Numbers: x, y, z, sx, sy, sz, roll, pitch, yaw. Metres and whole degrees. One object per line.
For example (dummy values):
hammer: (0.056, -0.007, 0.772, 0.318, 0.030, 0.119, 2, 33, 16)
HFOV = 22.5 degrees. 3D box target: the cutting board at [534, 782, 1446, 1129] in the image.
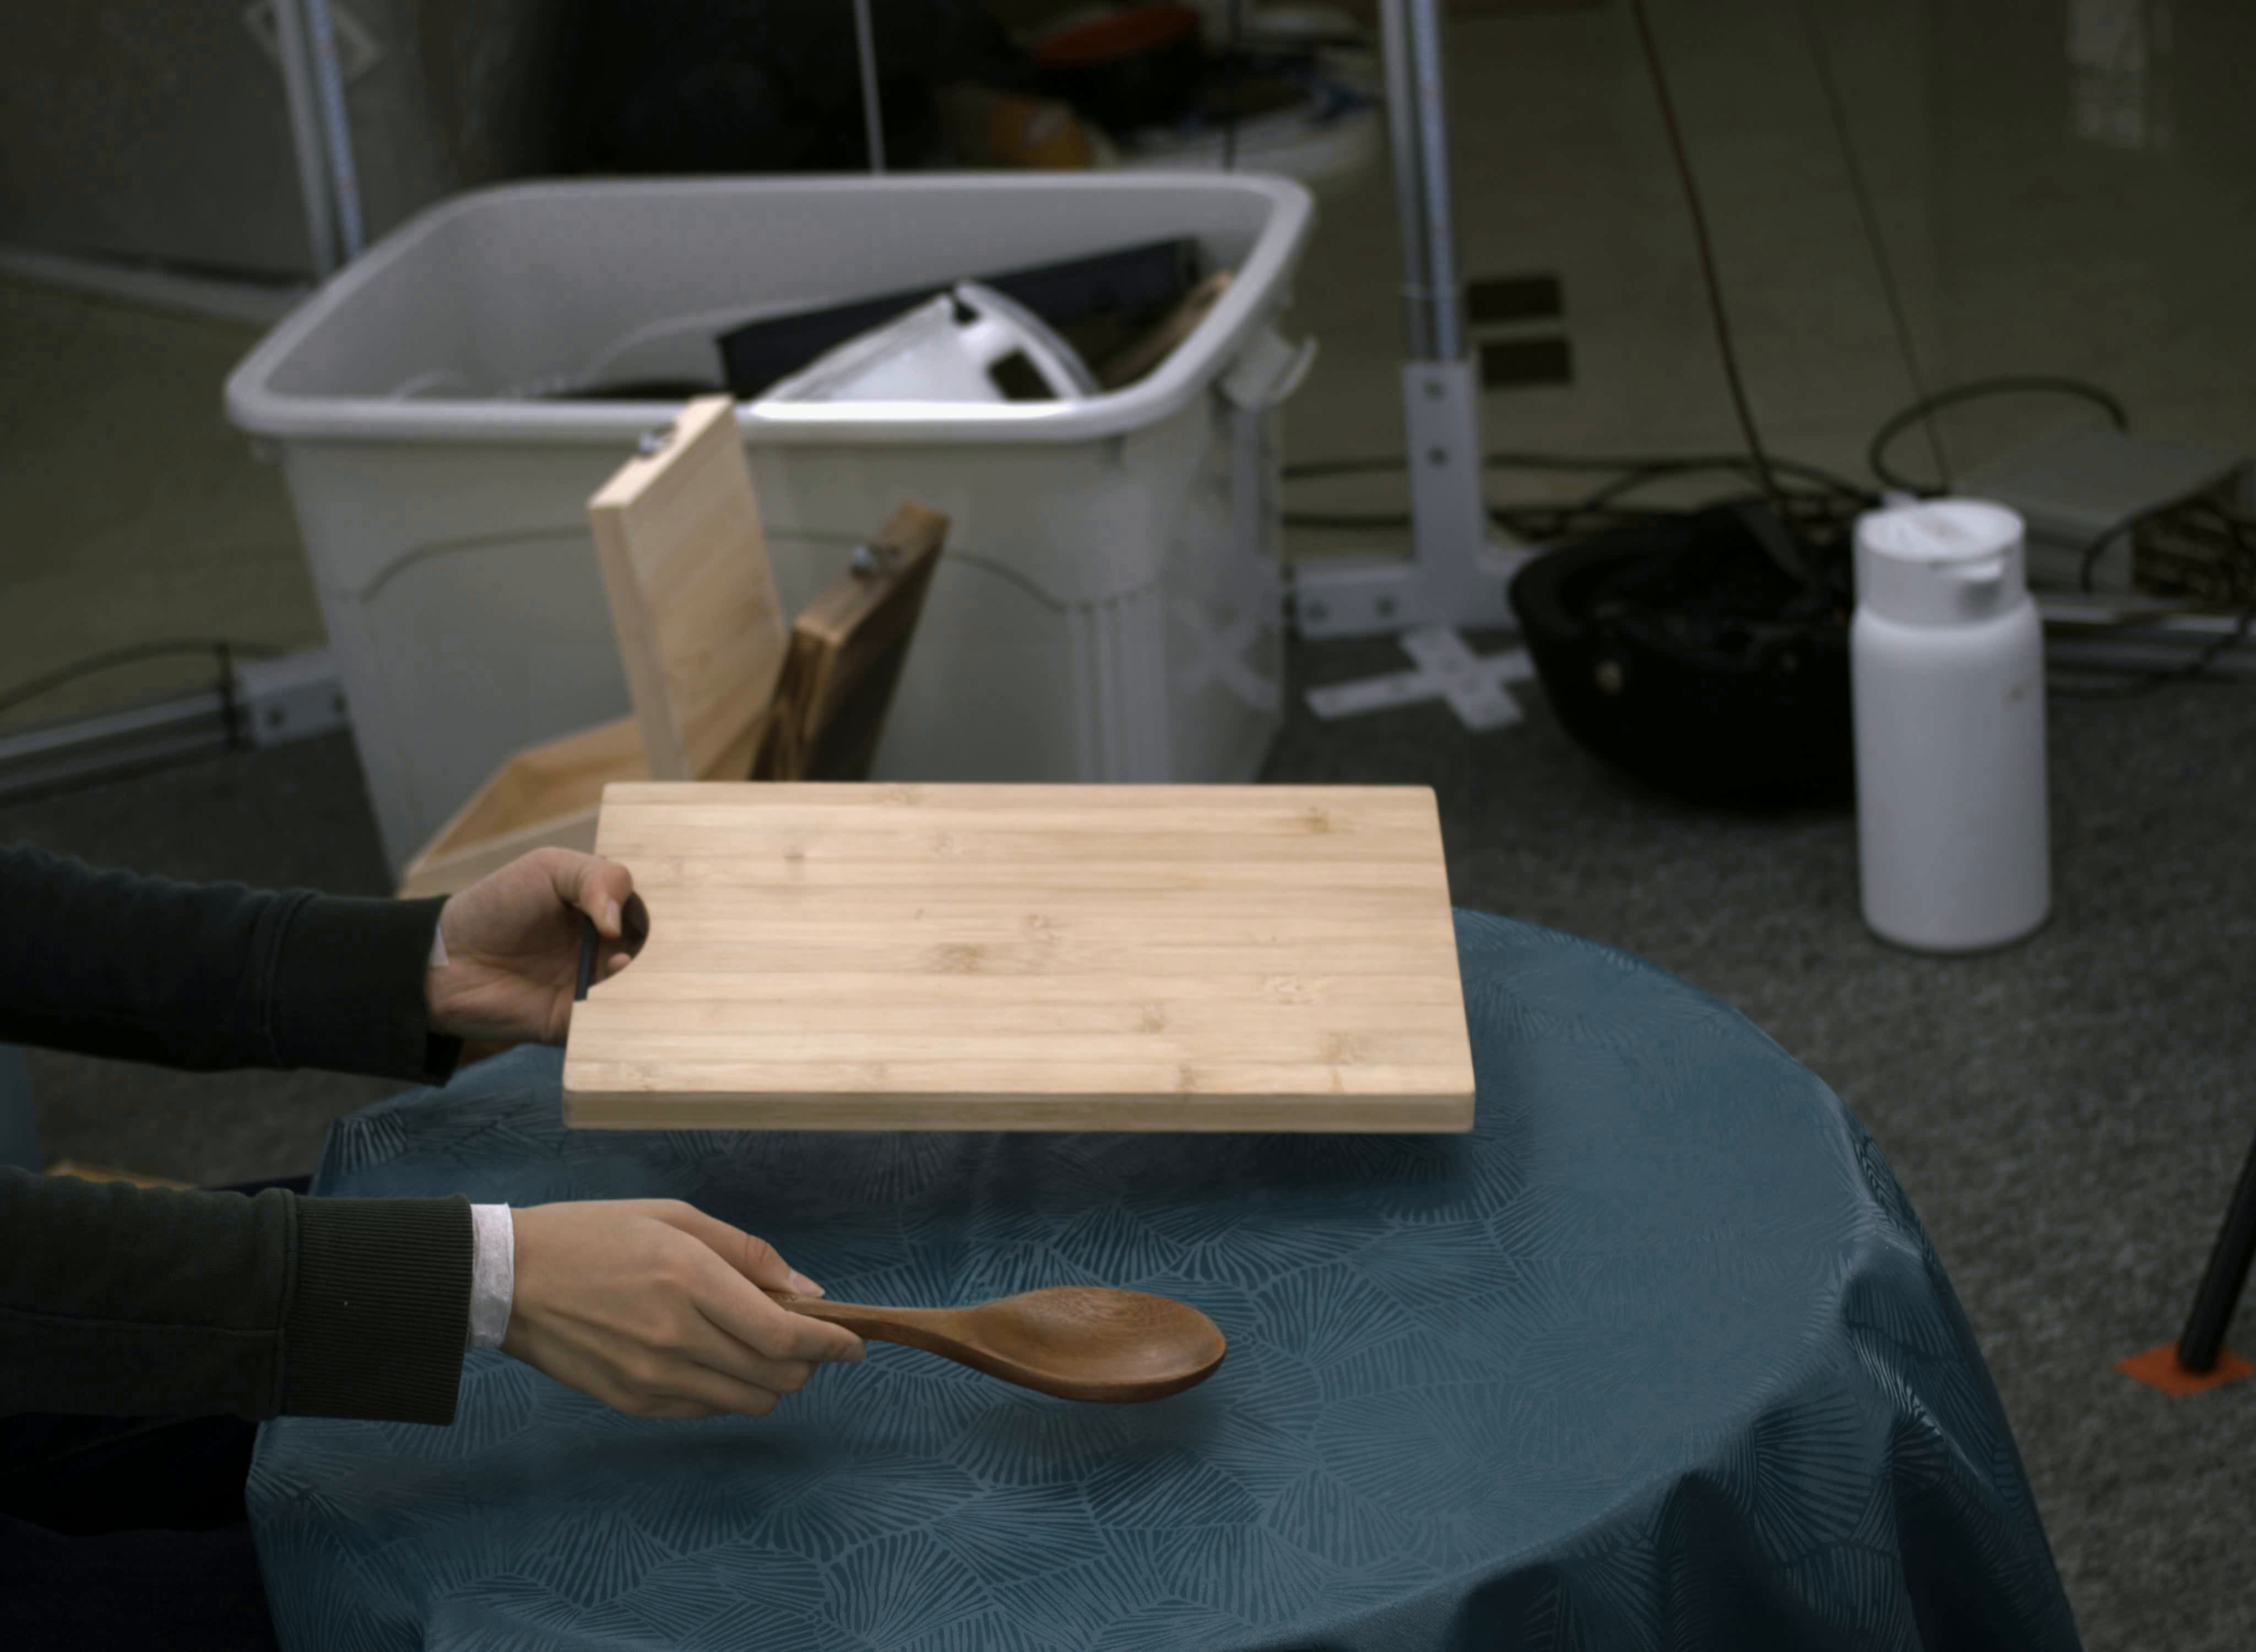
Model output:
cutting board: (-0.050, 0.048, 2.208, 0.348, 0.024, 0.246, 0, 29, -2)

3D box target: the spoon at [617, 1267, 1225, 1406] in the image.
spoon: (-0.073, 0.176, 1.994, 0.215, 0.017, 0.074, 7, 26, 5)
